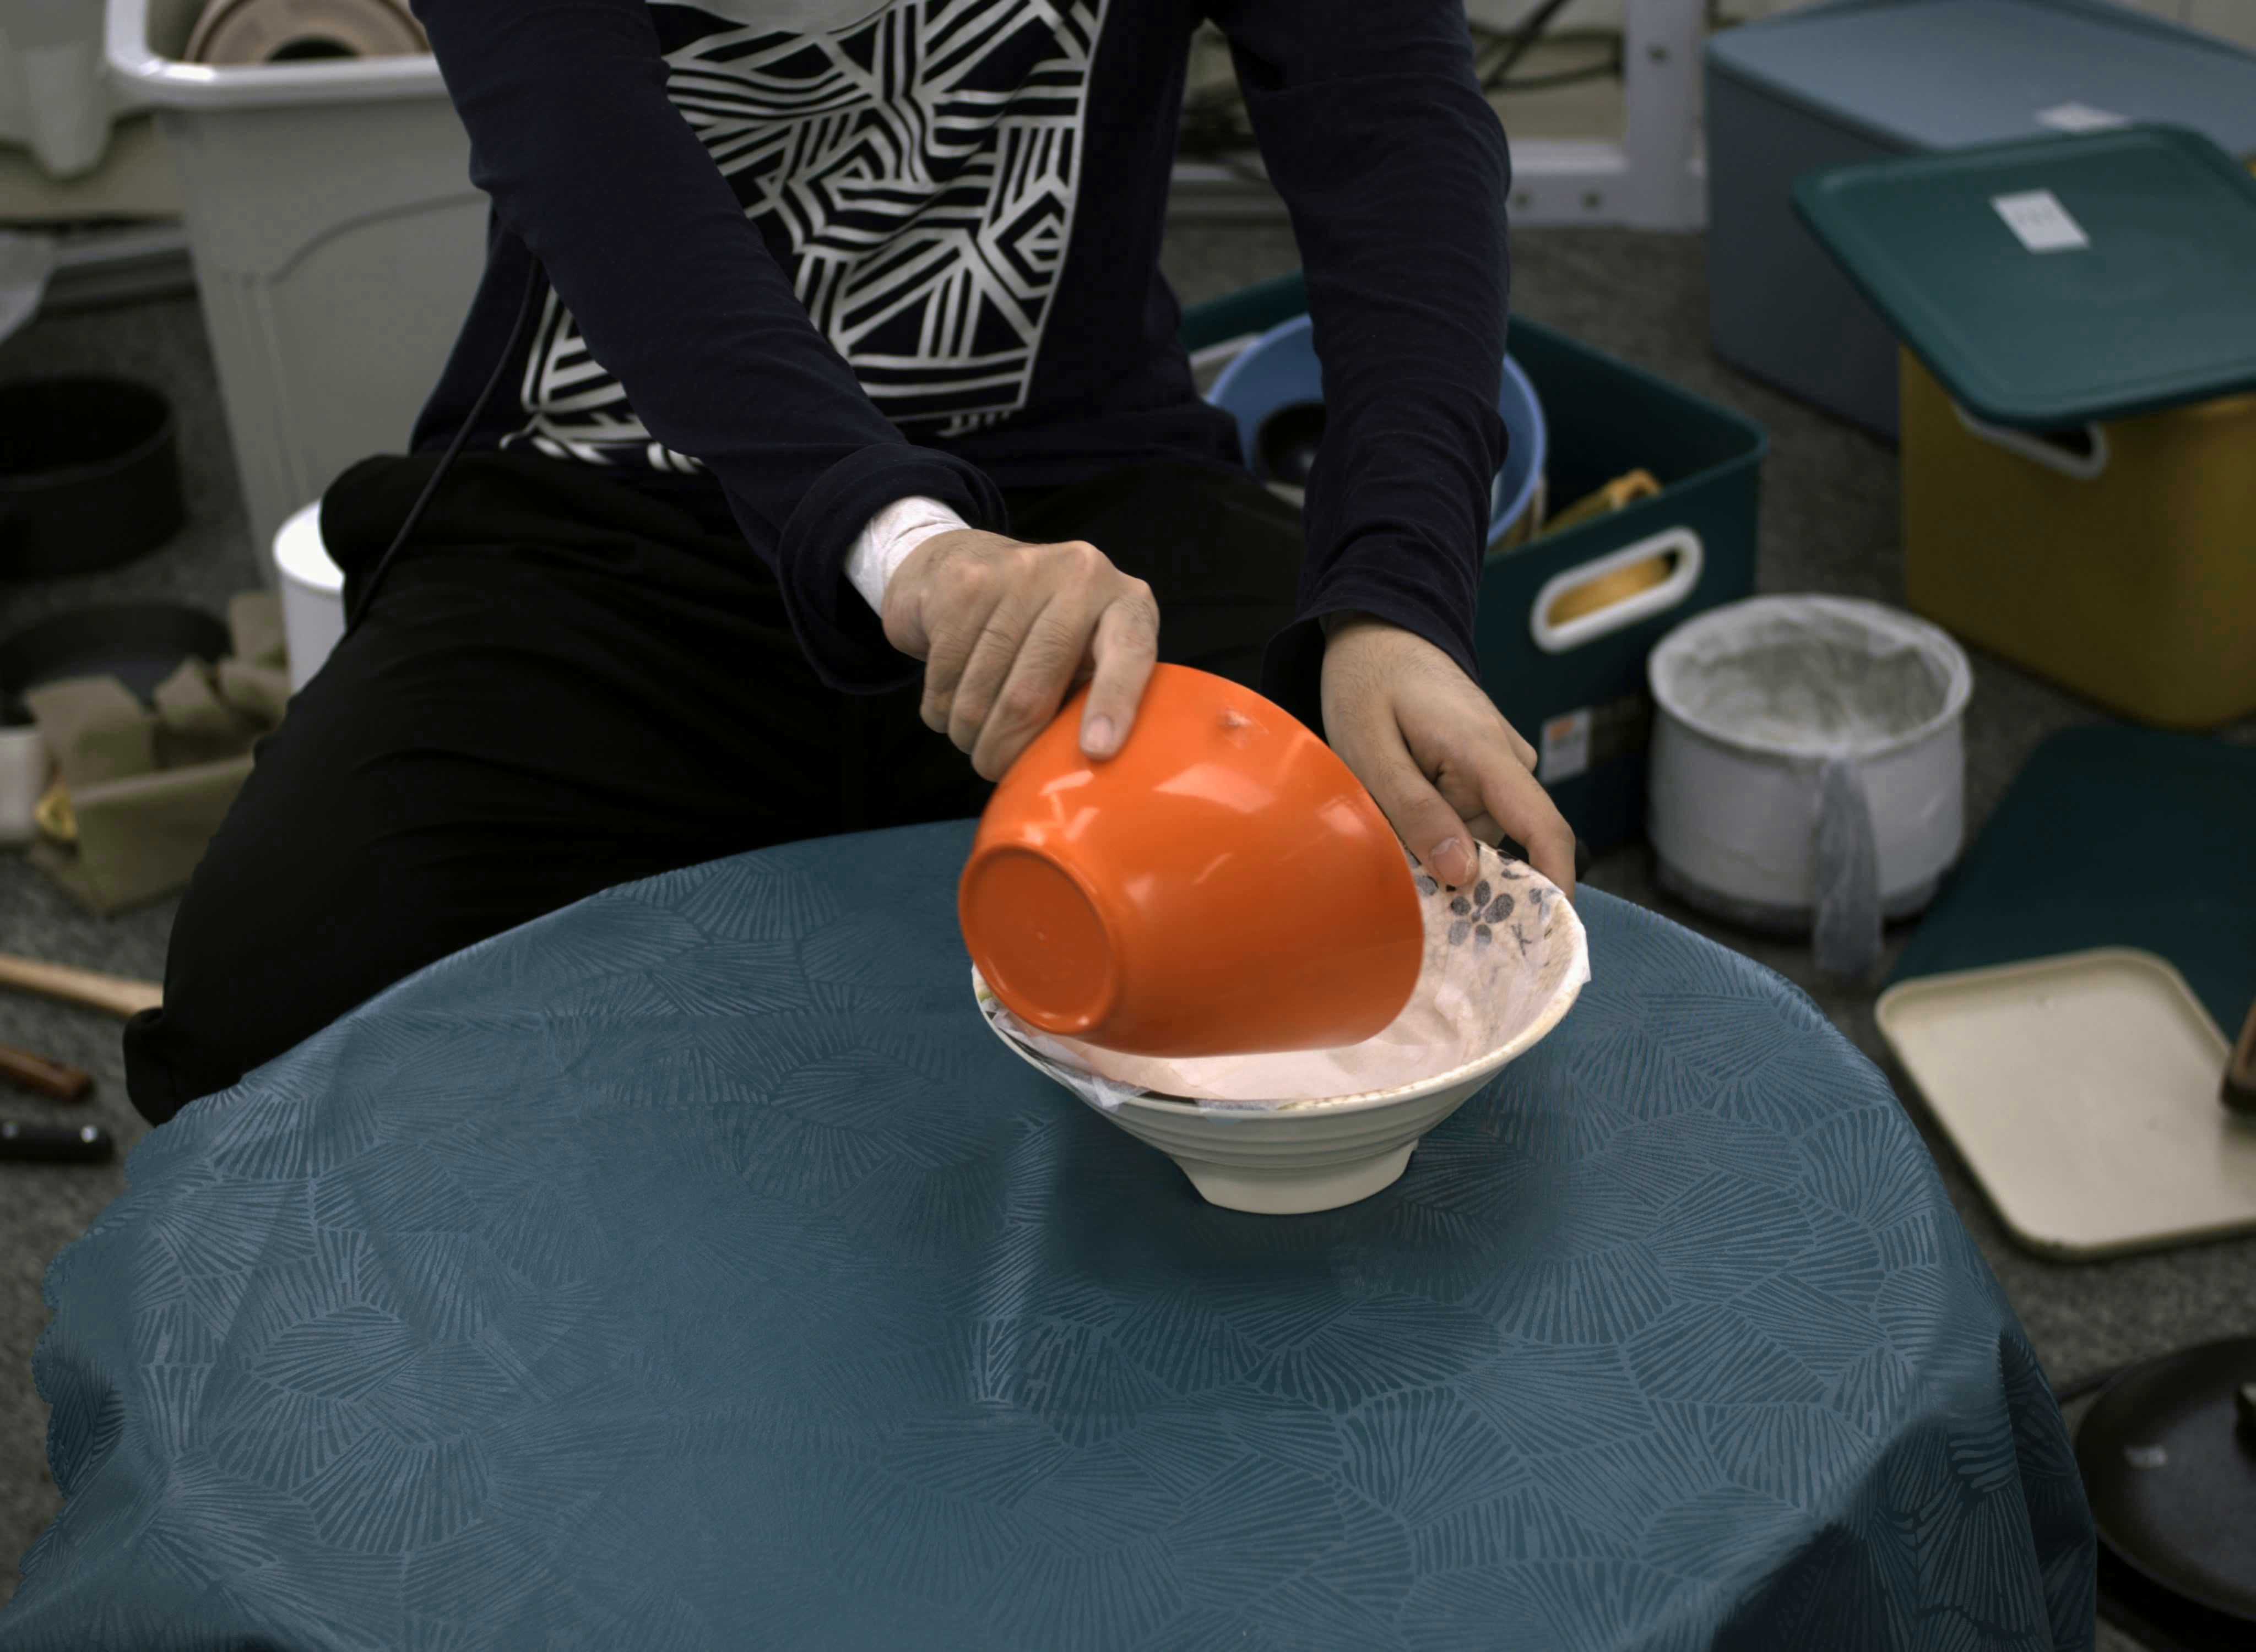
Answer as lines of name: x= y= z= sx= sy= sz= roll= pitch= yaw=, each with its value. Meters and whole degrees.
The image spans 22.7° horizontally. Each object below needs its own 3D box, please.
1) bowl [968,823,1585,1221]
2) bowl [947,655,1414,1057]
bowl: x=0.049 y=0.076 z=1.863 sx=0.203 sy=0.077 sz=0.207 roll=-1 pitch=26 yaw=1
bowl: x=0.005 y=0.025 z=1.790 sx=0.147 sy=0.146 sz=0.106 roll=19 pitch=33 yaw=36
